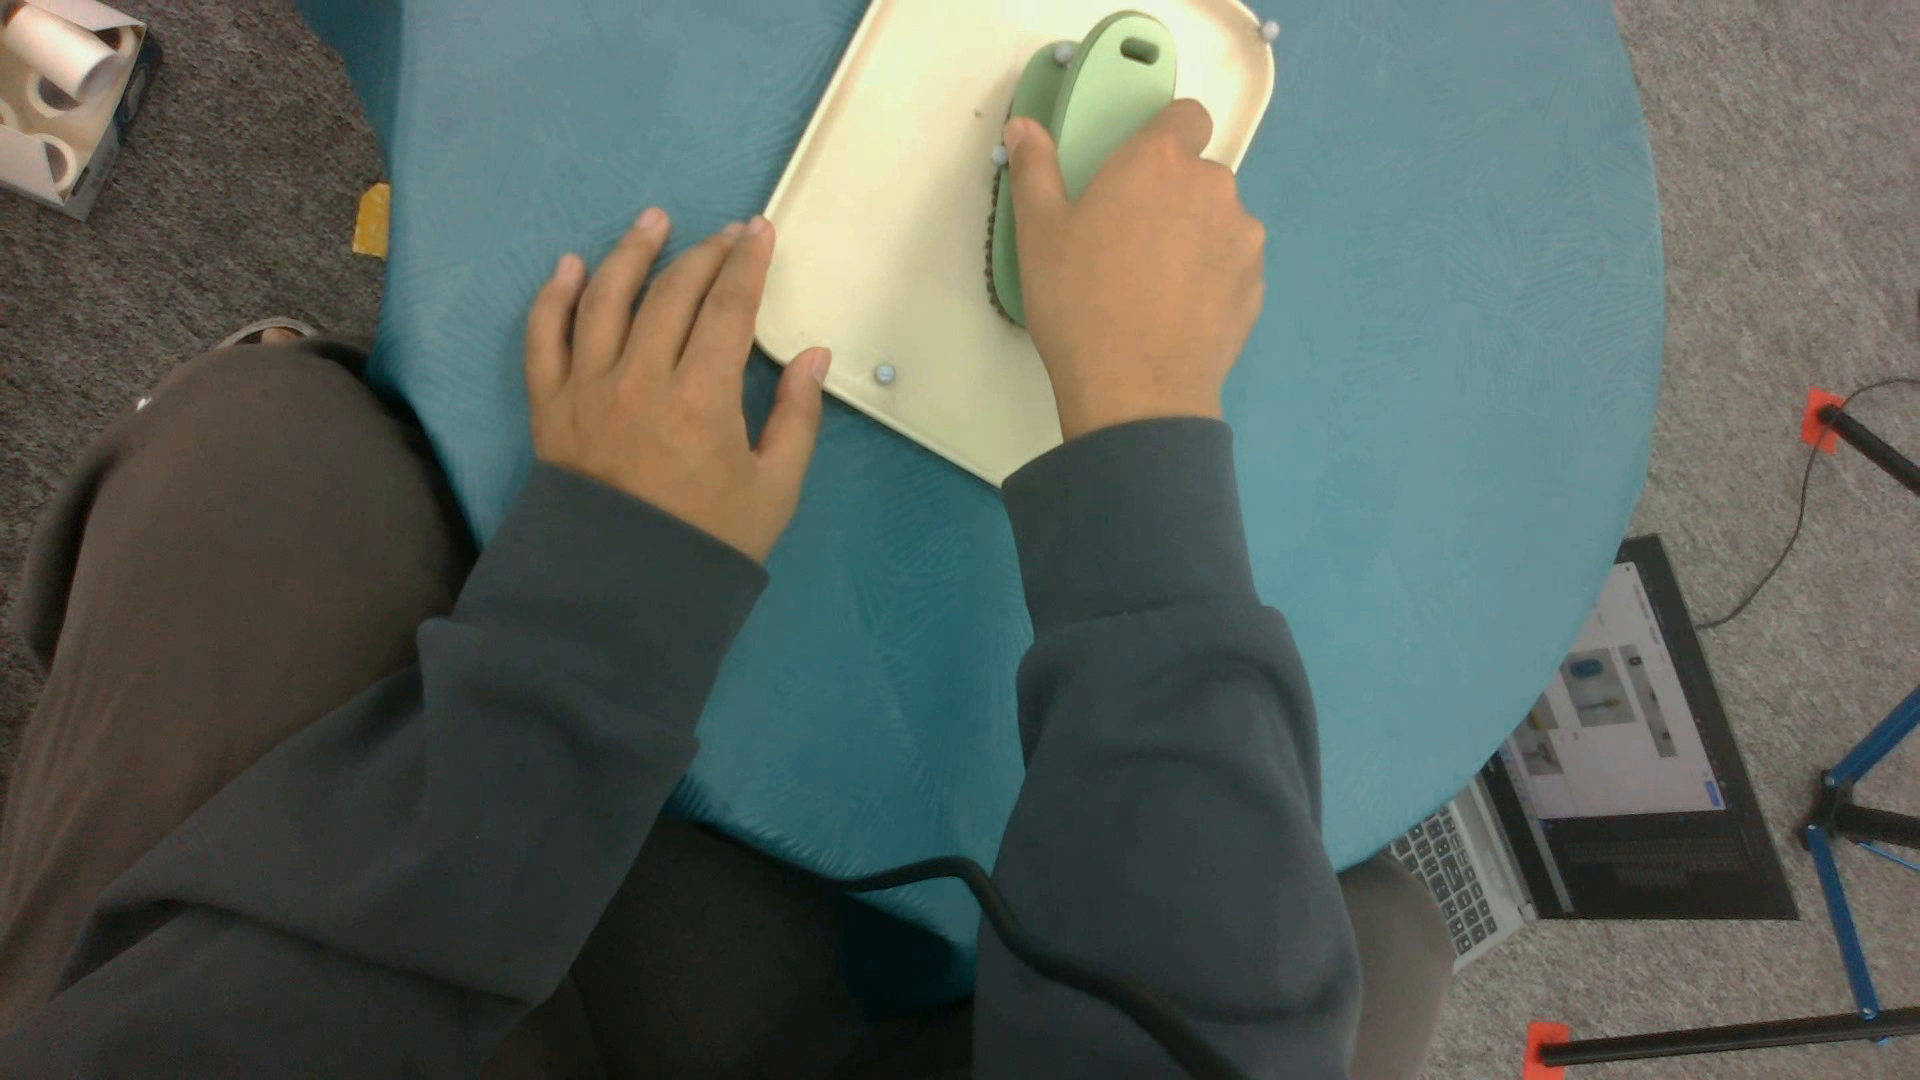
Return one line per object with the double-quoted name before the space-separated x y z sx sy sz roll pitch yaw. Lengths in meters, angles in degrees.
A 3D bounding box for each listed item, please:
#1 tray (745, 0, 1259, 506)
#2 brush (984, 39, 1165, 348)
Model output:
"tray" 0.023 -0.147 0.589 0.171 0.017 0.240 27 81 -16
"brush" 0.045 -0.143 0.576 0.060 0.076 0.123 7 101 -19
